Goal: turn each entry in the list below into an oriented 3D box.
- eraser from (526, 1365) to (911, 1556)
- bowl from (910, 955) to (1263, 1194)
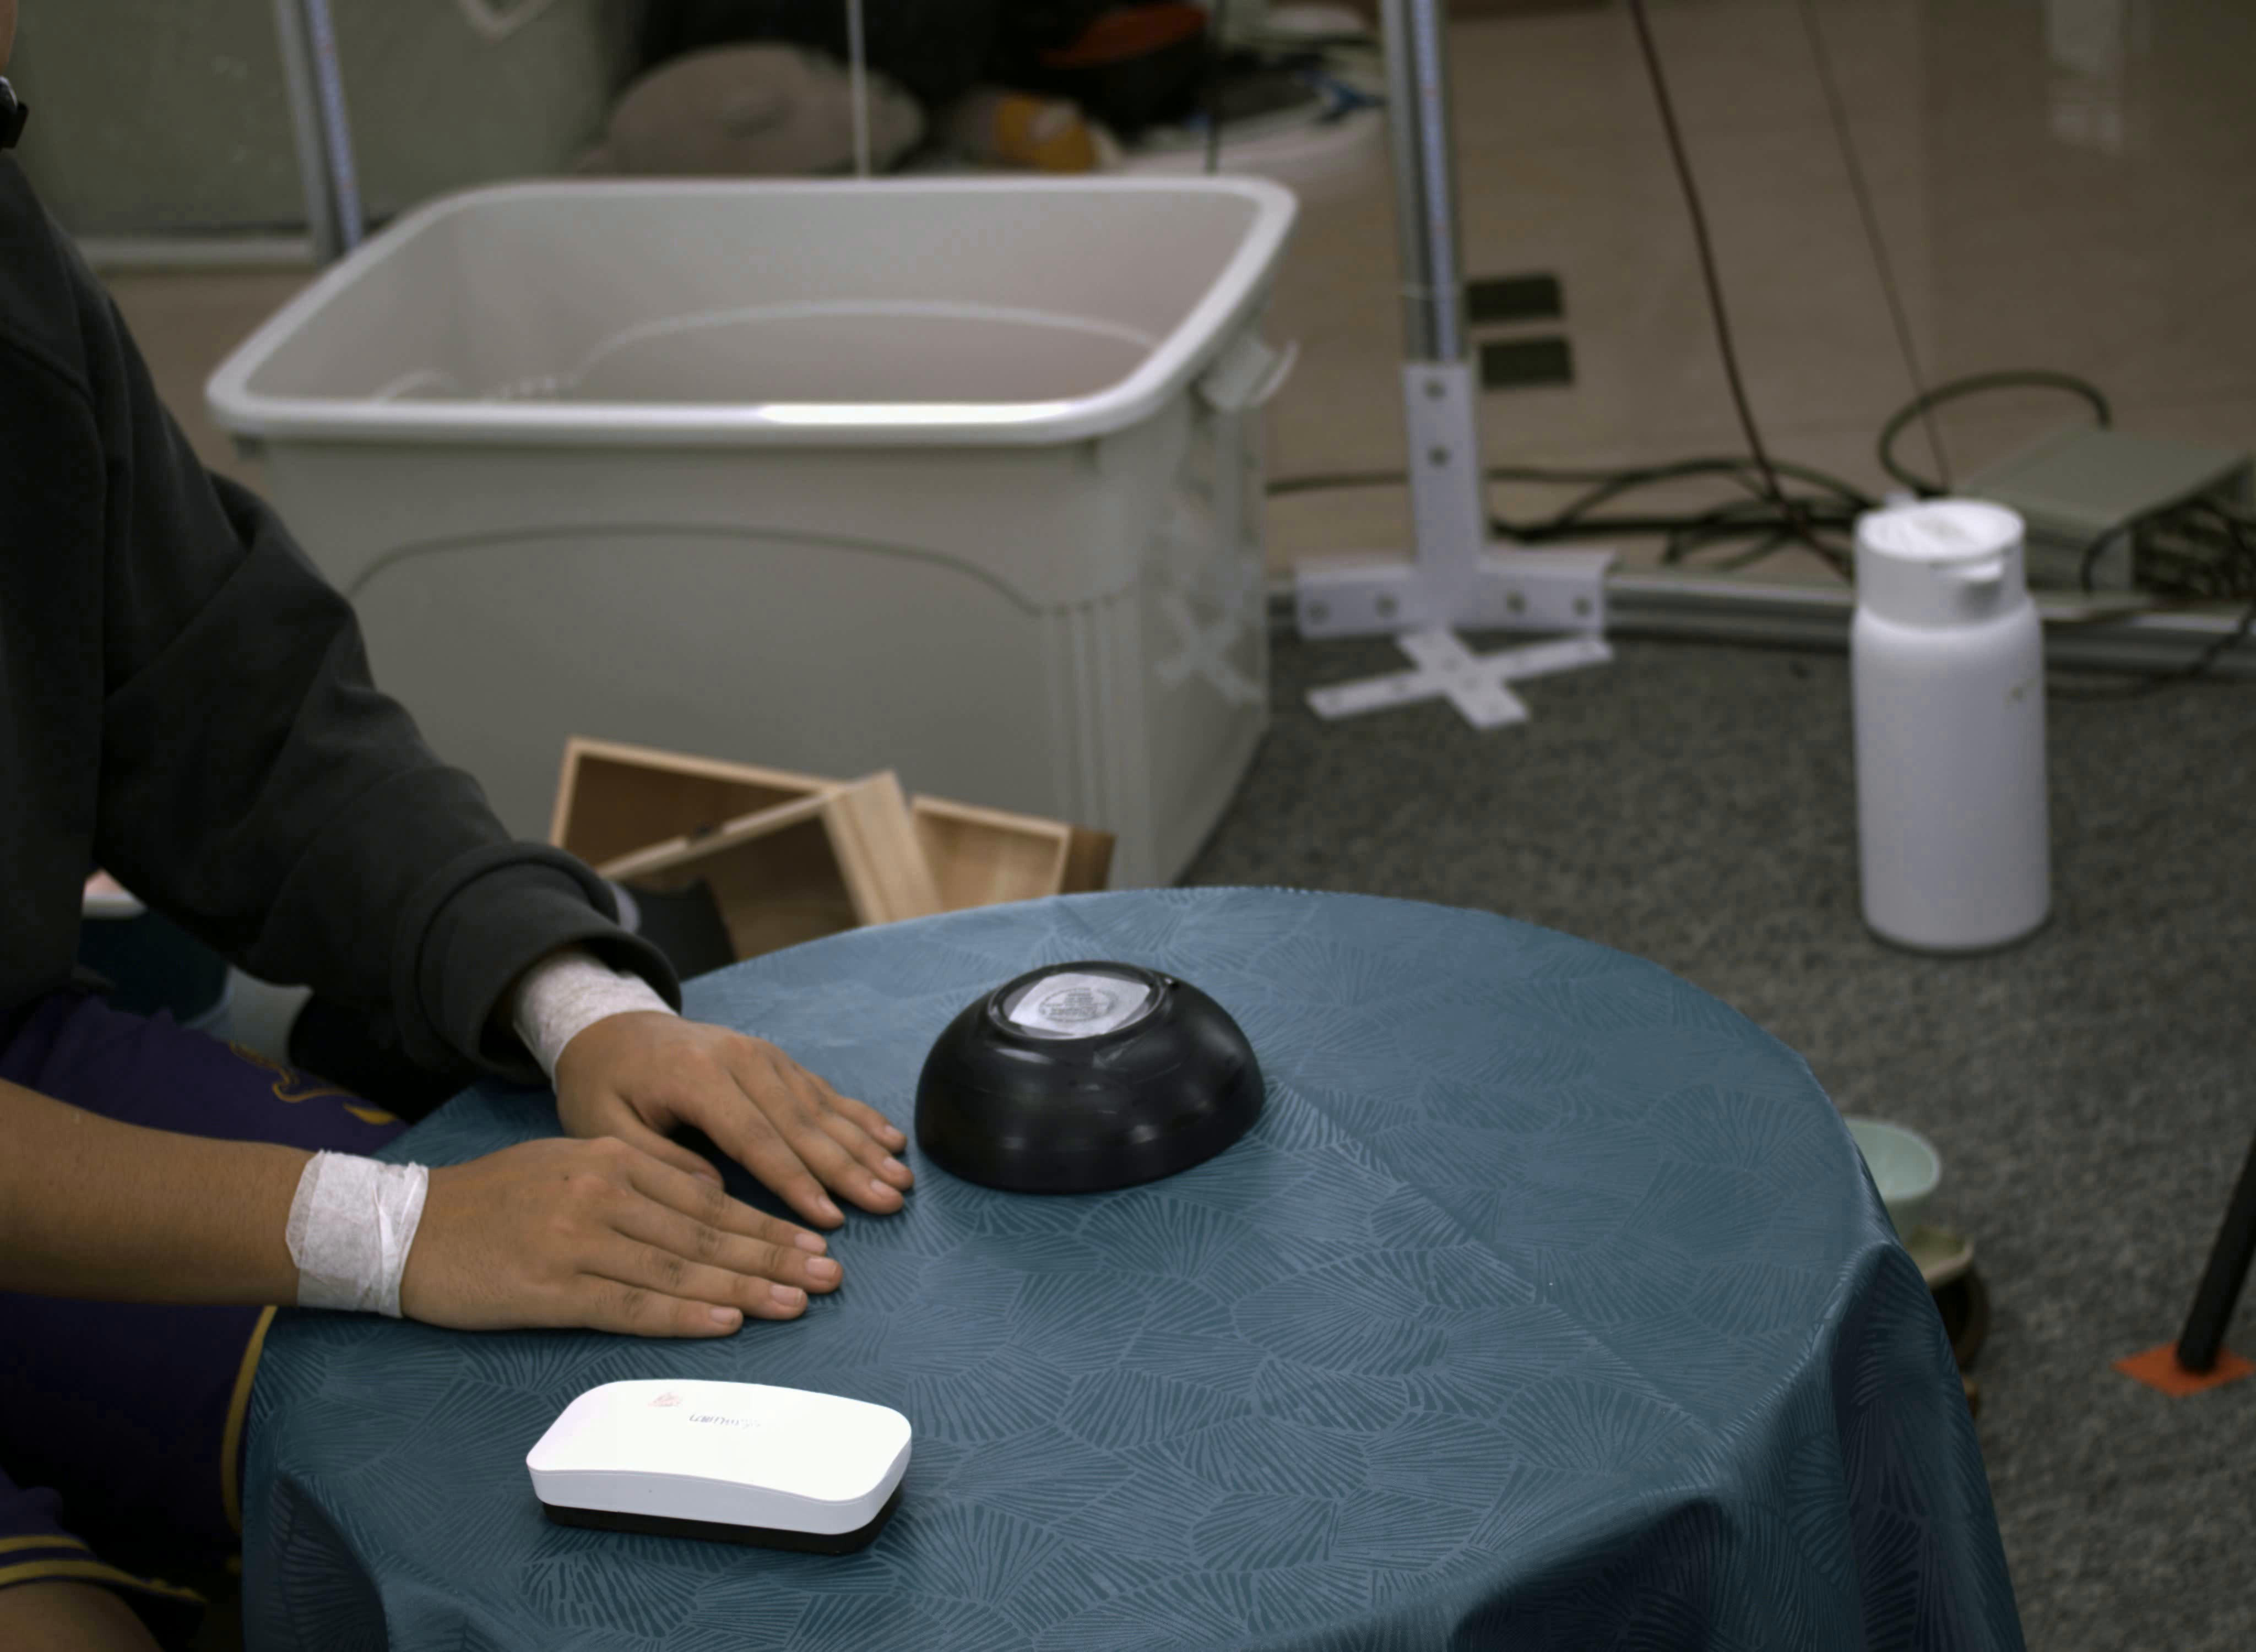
[{"bbox_3d":[-0.141,0.219,1.971,0.131,0.035,0.062,6,27,22],"label":"eraser"},{"bbox_3d":[-0.018,0.088,2.199,0.140,0.050,0.138,-5,27,2],"label":"bowl"}]
